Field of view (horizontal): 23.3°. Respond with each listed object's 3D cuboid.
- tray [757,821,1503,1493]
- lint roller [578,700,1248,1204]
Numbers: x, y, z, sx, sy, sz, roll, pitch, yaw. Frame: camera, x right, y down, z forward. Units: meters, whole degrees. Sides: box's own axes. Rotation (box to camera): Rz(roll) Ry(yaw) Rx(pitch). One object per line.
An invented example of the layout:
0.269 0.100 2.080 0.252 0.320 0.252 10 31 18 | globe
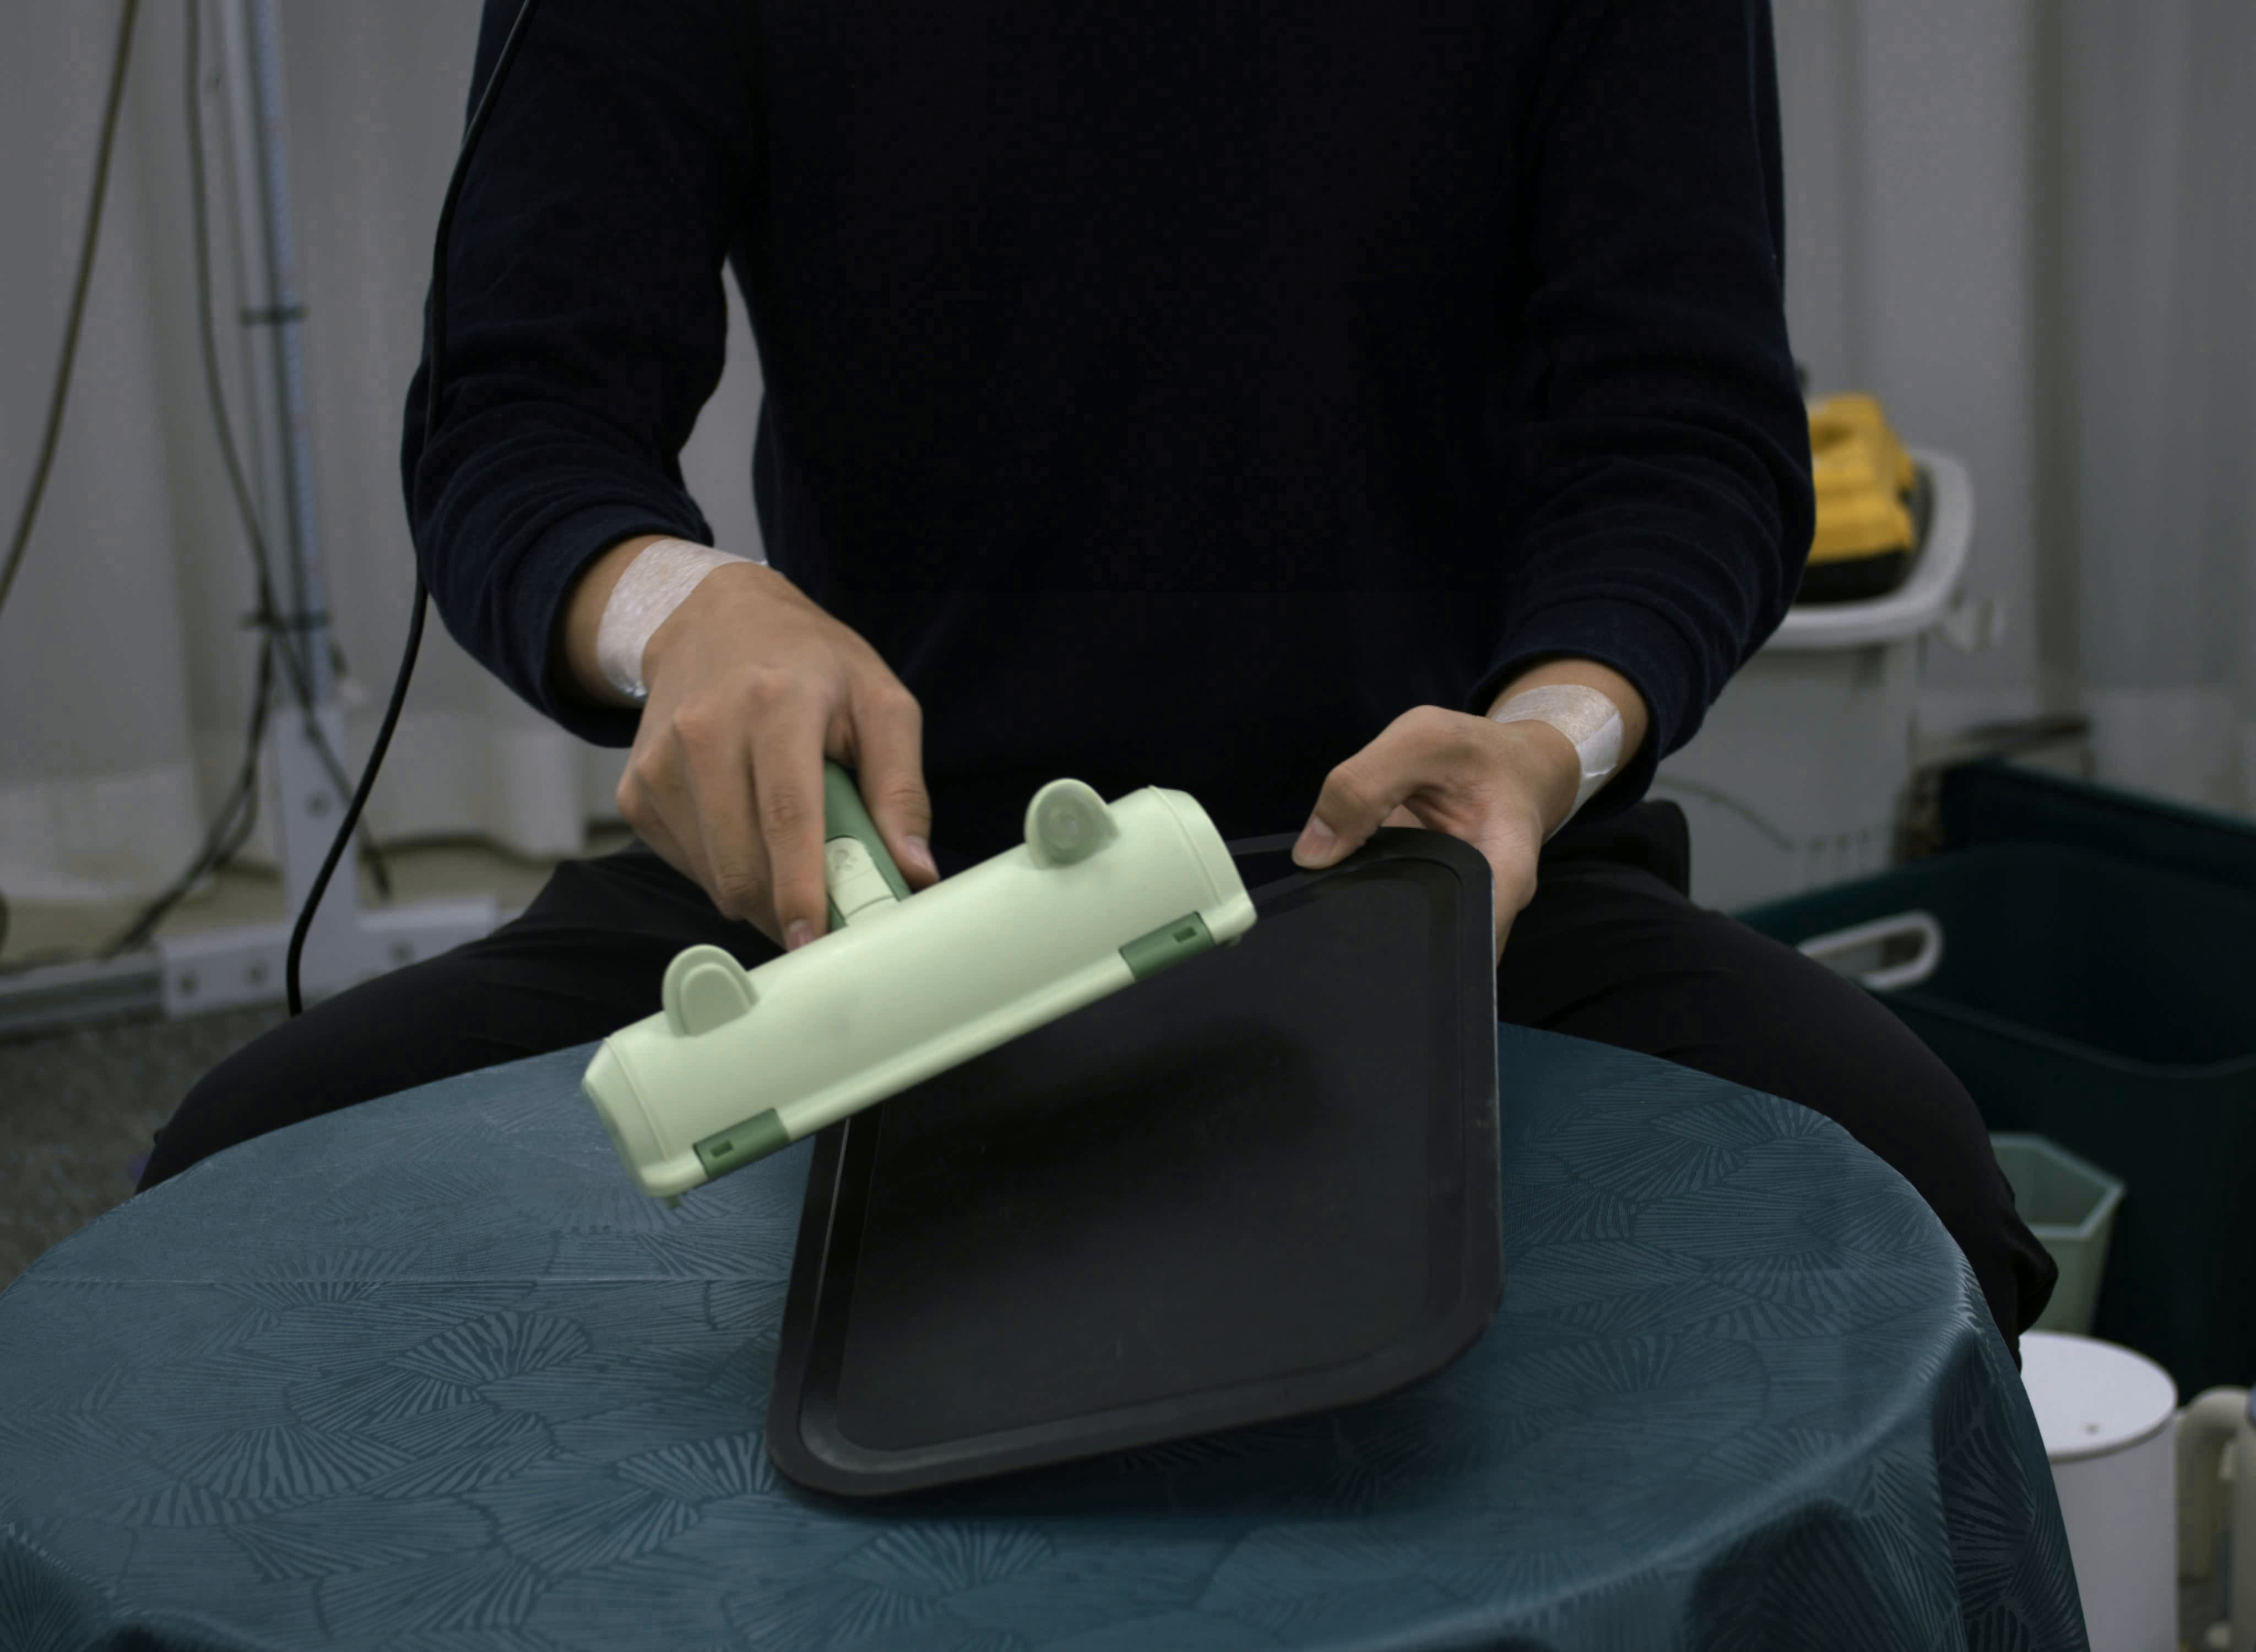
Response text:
0.005 0.085 1.590 0.210 0.009 0.329 -11 29 10 | tray
-0.088 0.006 1.621 0.198 0.081 0.186 -25 51 -11 | lint roller
